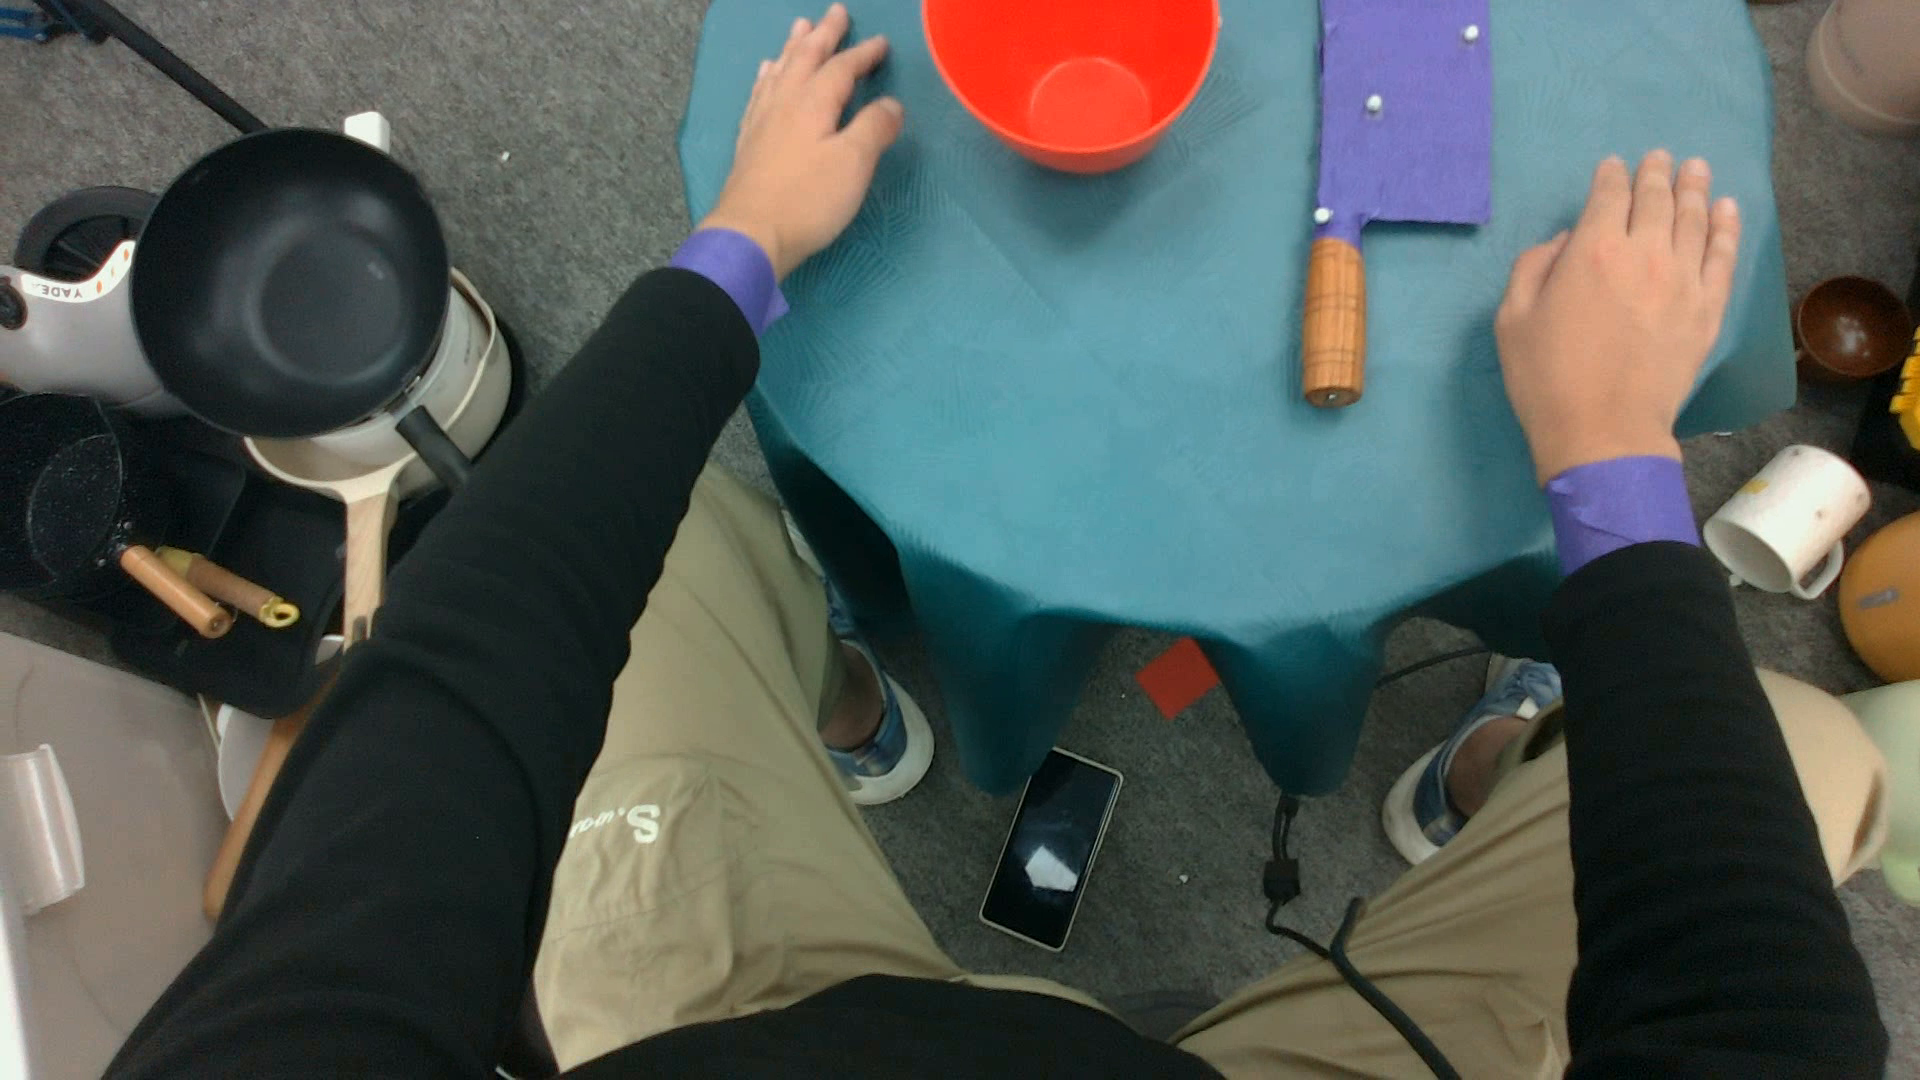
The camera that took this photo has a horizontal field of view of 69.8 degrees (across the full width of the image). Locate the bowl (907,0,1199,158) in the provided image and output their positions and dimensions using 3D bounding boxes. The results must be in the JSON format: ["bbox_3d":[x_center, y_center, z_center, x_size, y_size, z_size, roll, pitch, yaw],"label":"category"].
[{"bbox_3d":[0.049,-0.266,0.731,0.148,0.104,0.148,-1,75,3],"label":"bowl"}]

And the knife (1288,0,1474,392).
[{"bbox_3d":[0.226,-0.232,0.747,0.104,0.032,0.316,2,76,6],"label":"knife"}]
